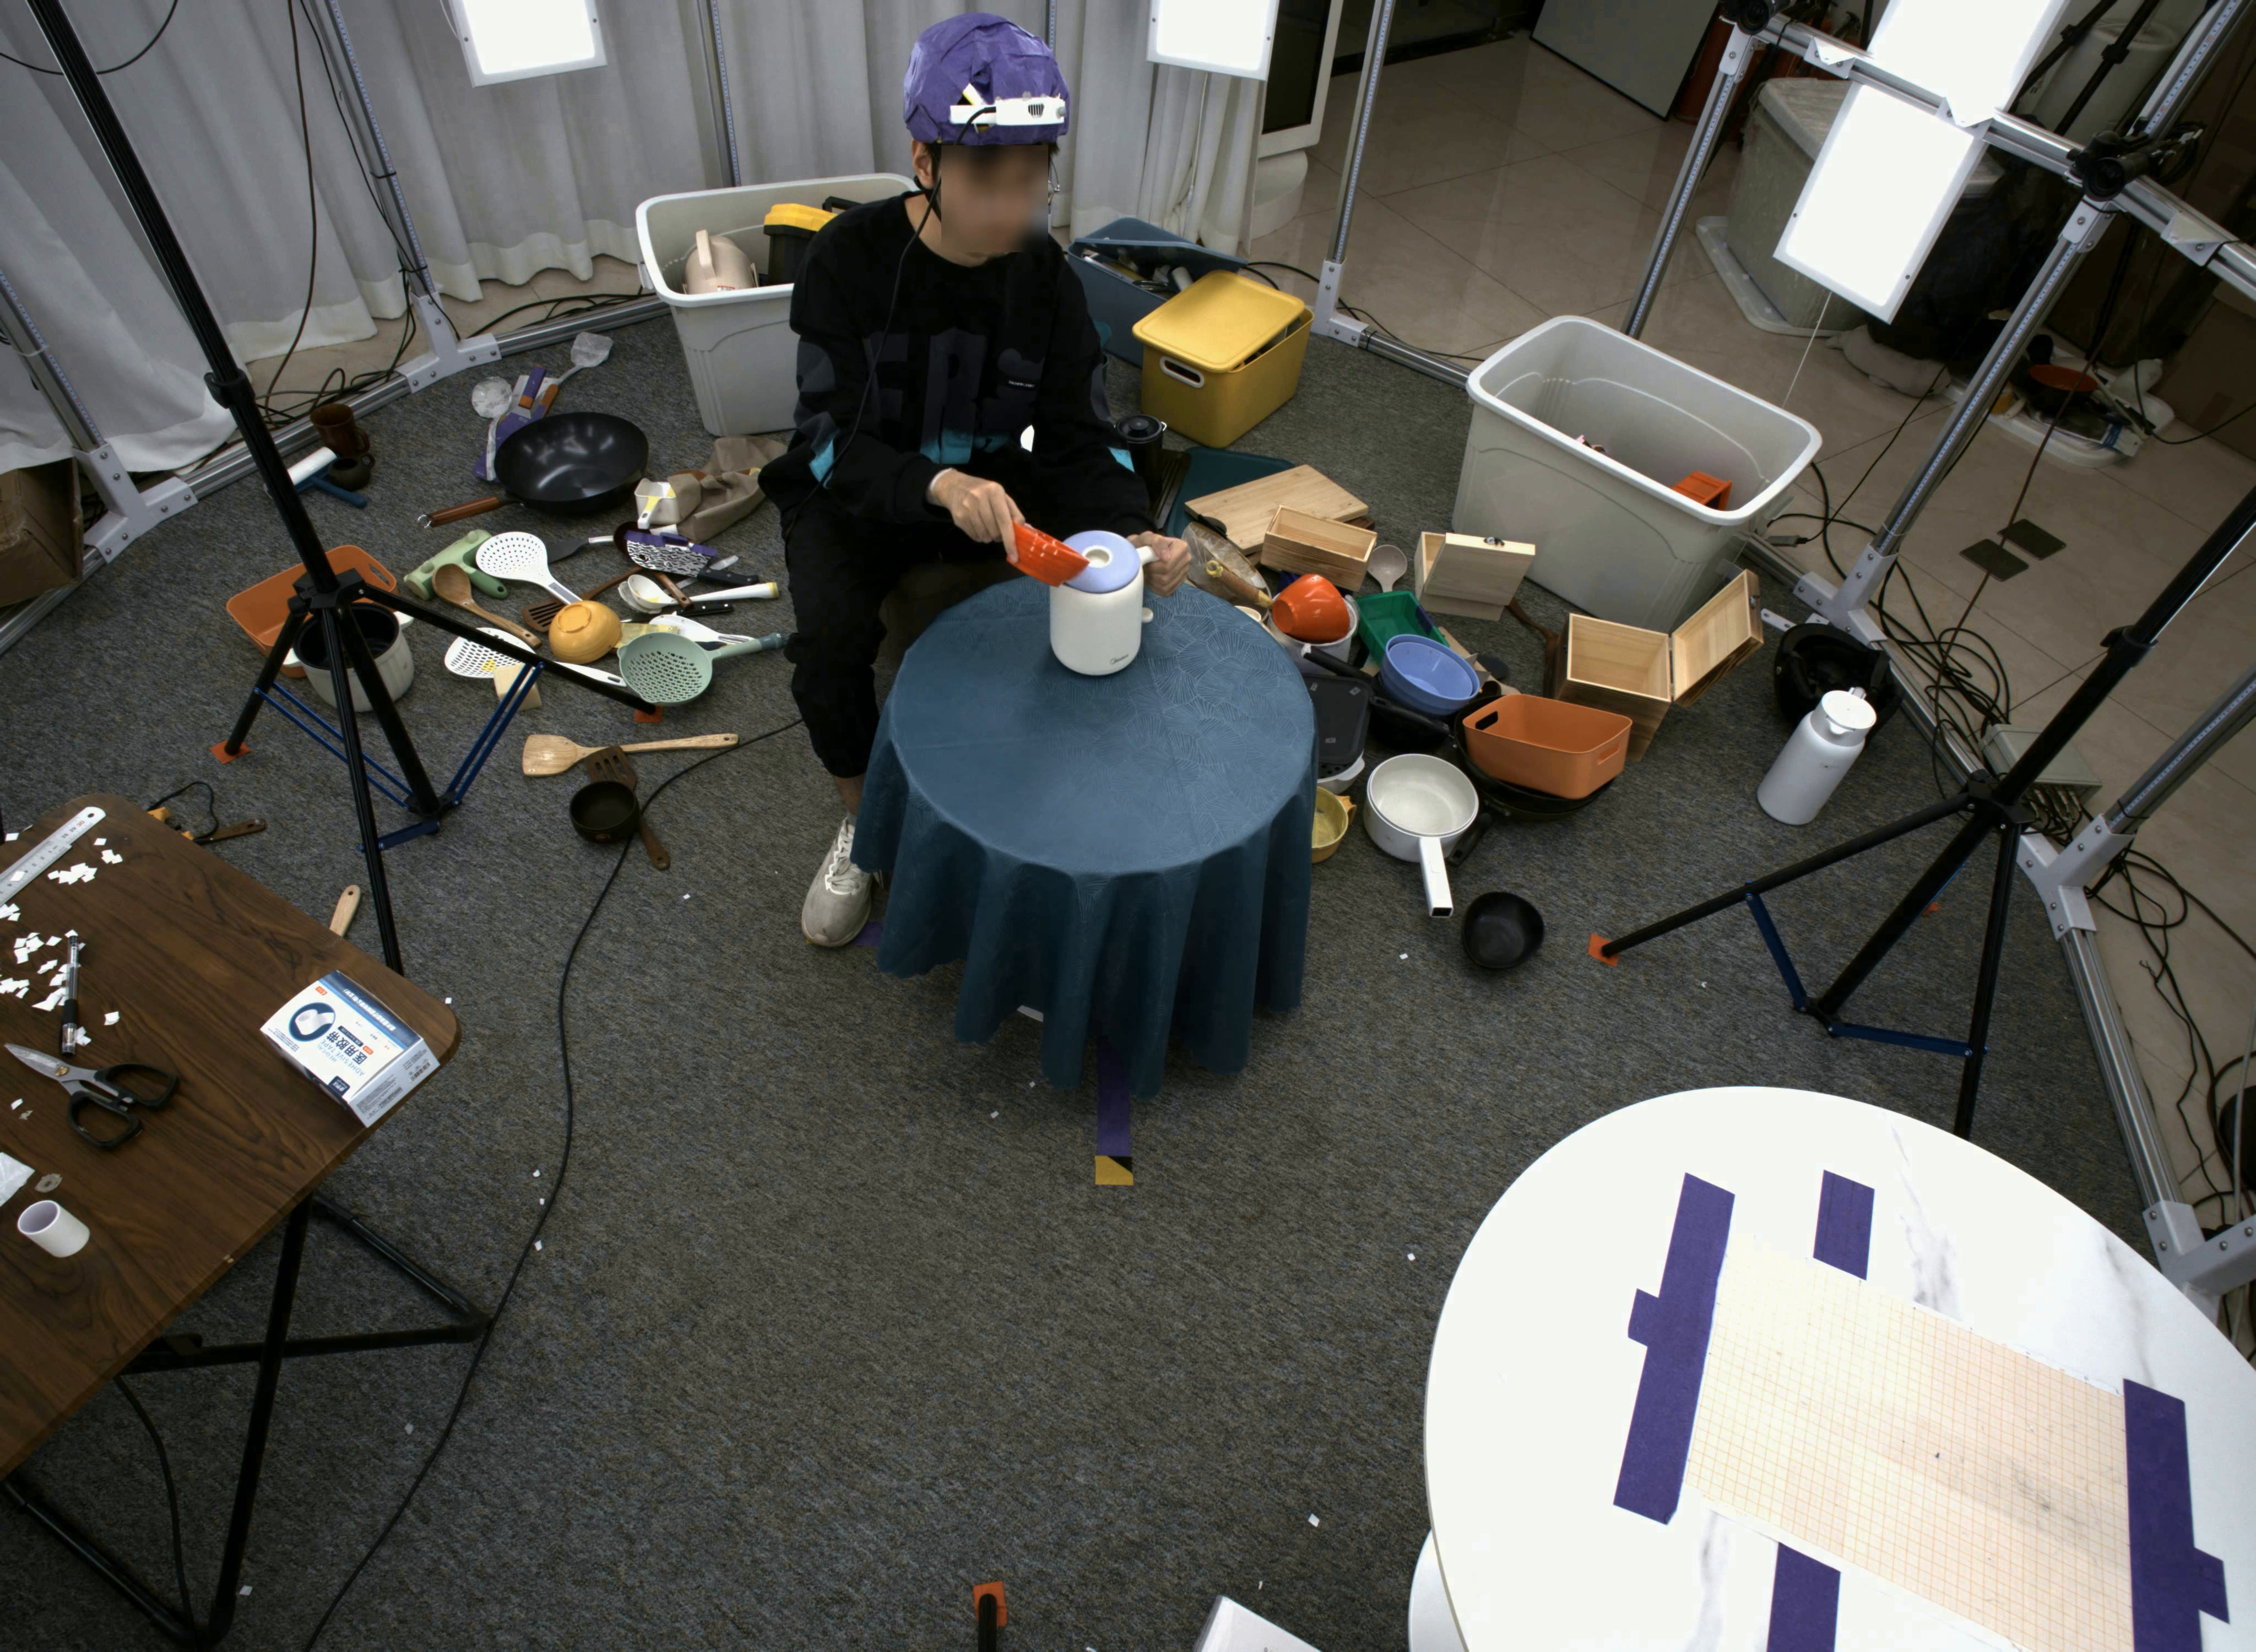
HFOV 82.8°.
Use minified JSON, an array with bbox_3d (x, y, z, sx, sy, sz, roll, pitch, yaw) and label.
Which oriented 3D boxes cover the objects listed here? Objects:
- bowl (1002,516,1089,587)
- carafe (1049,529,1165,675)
[{"bbox_3d":[-0.114,-0.348,1.656,0.118,0.051,0.120,26,16,-8],"label":"bowl"},{"bbox_3d":[-0.026,-0.326,1.825,0.192,0.178,0.135,-26,60,-22],"label":"carafe"}]
